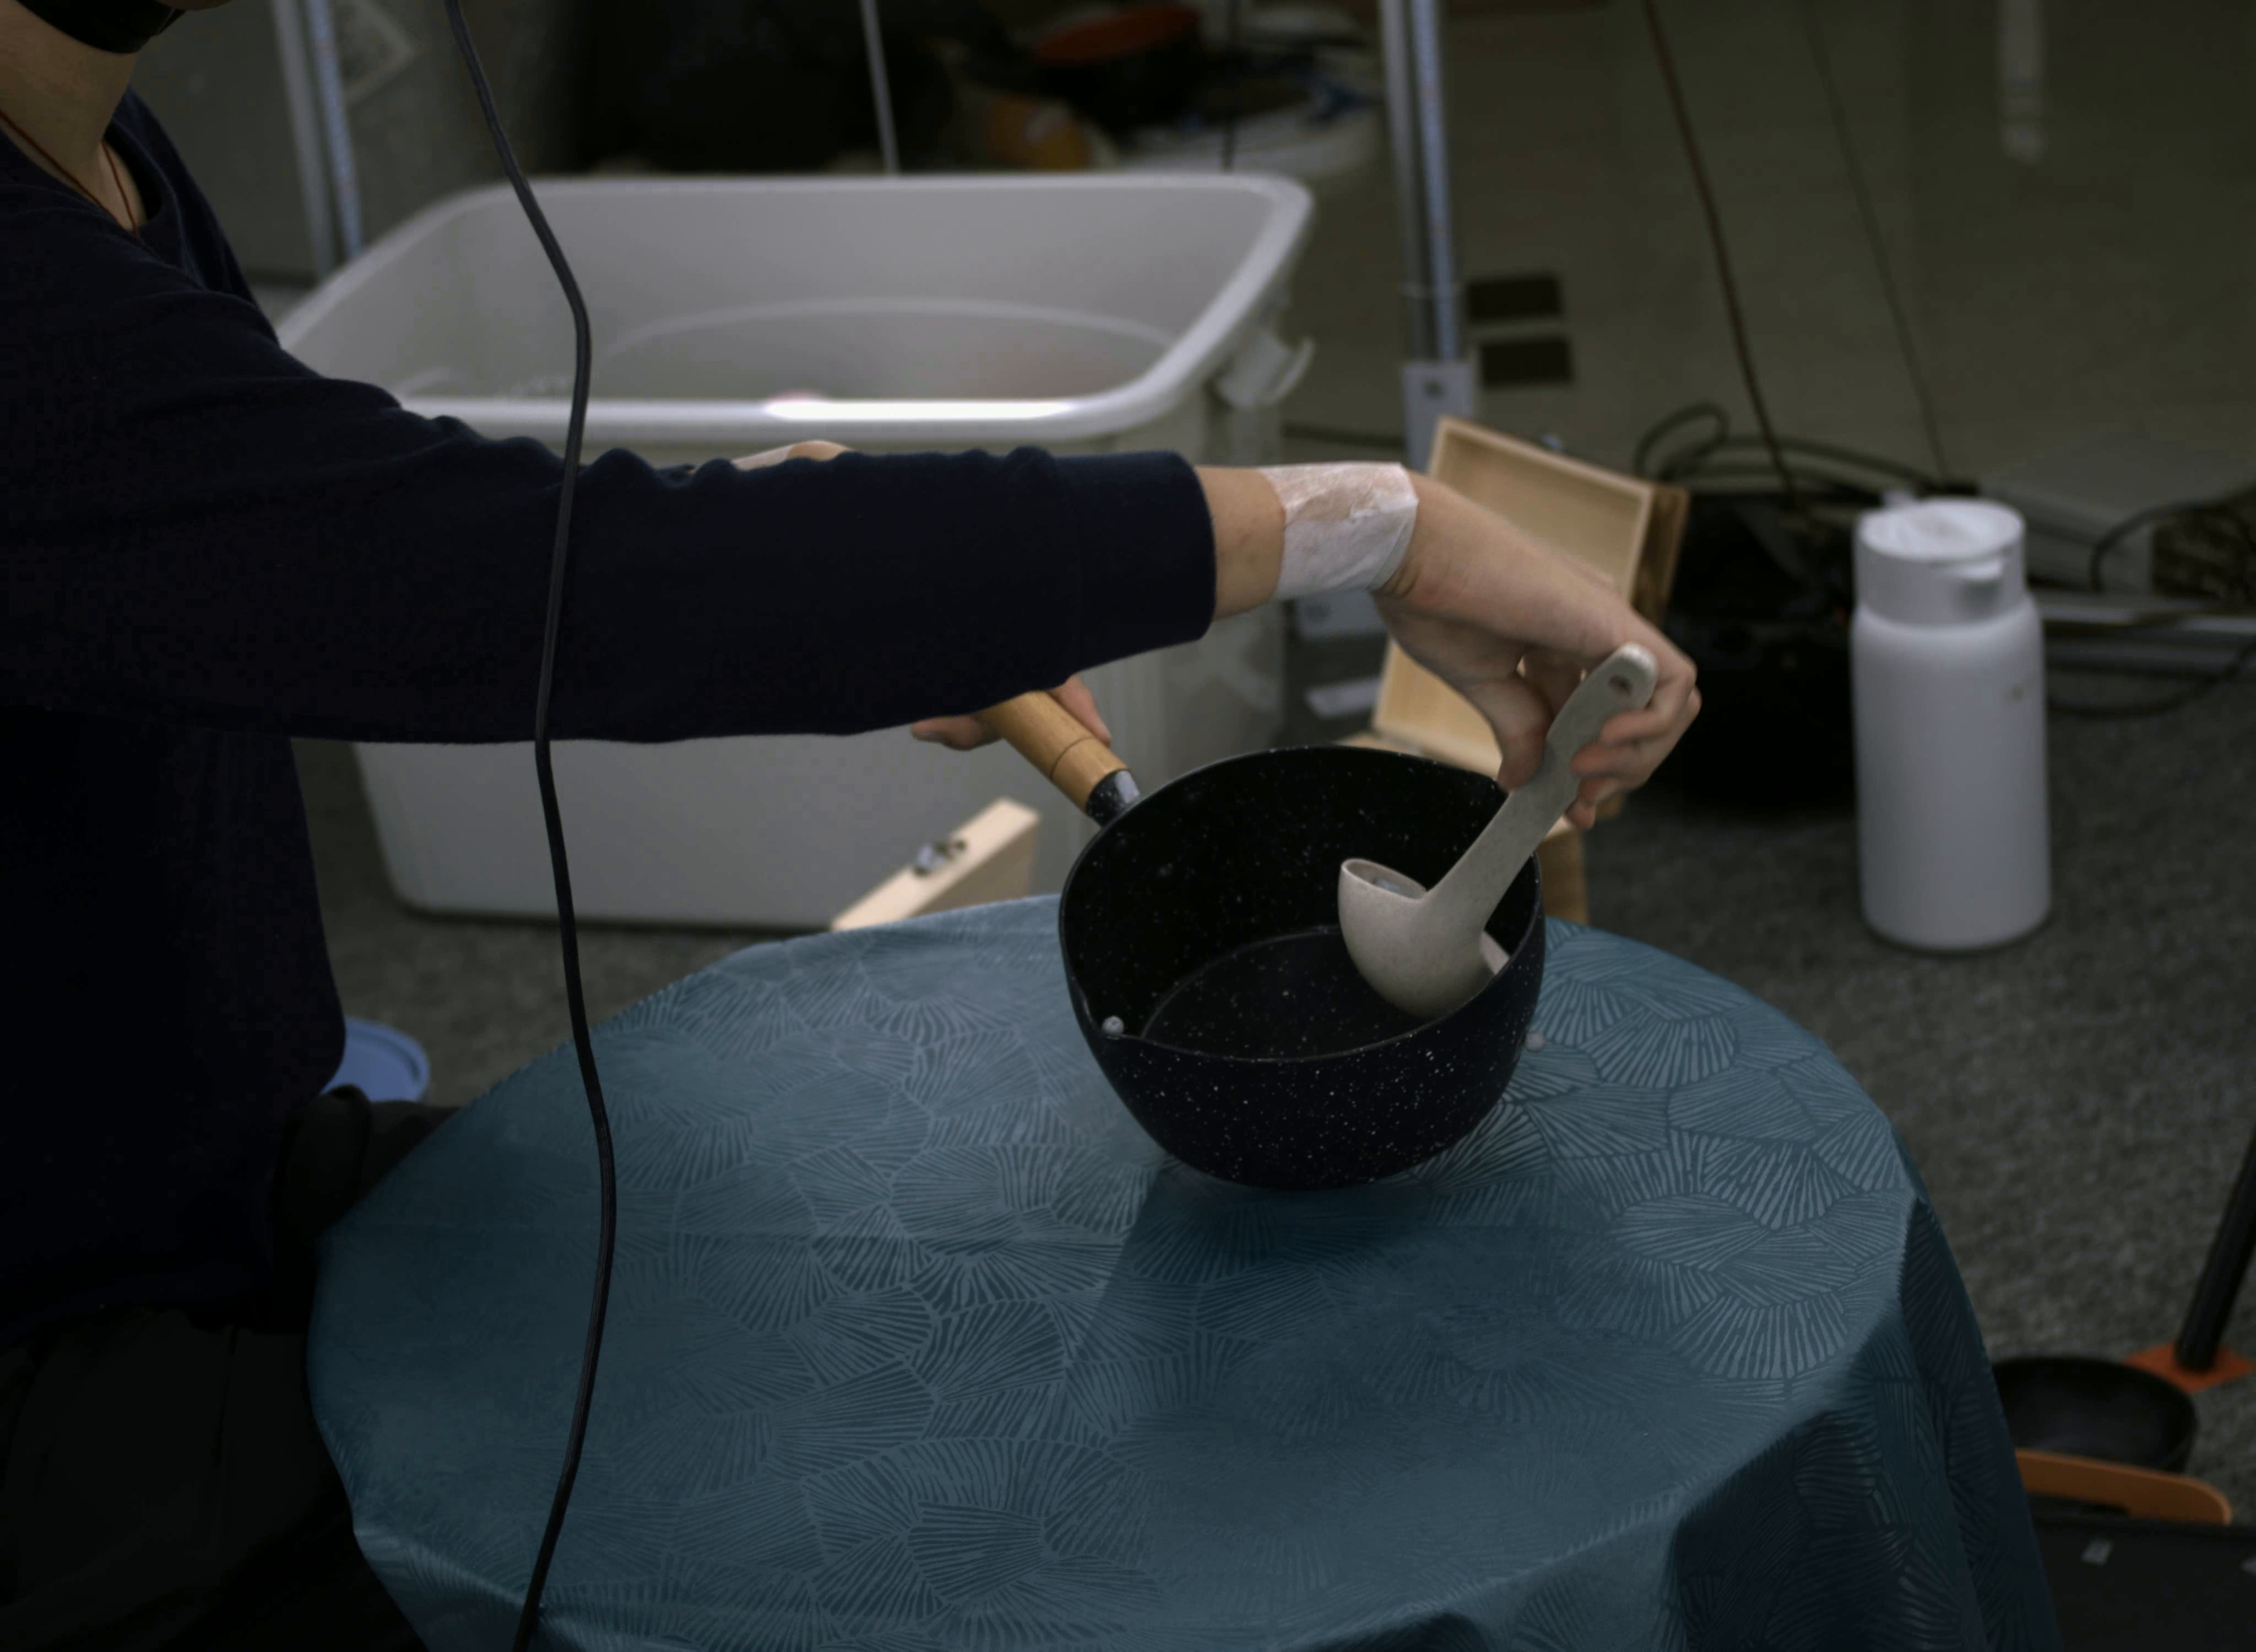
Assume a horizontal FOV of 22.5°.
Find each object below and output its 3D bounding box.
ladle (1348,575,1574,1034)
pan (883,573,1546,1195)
[{"bbox_3d":[0.140,-0.018,2.048,0.088,0.280,0.069,42,56,17],"label":"ladle"},{"bbox_3d":[0.017,0.016,2.204,0.206,0.110,0.339,-34,47,-25],"label":"pan"}]
